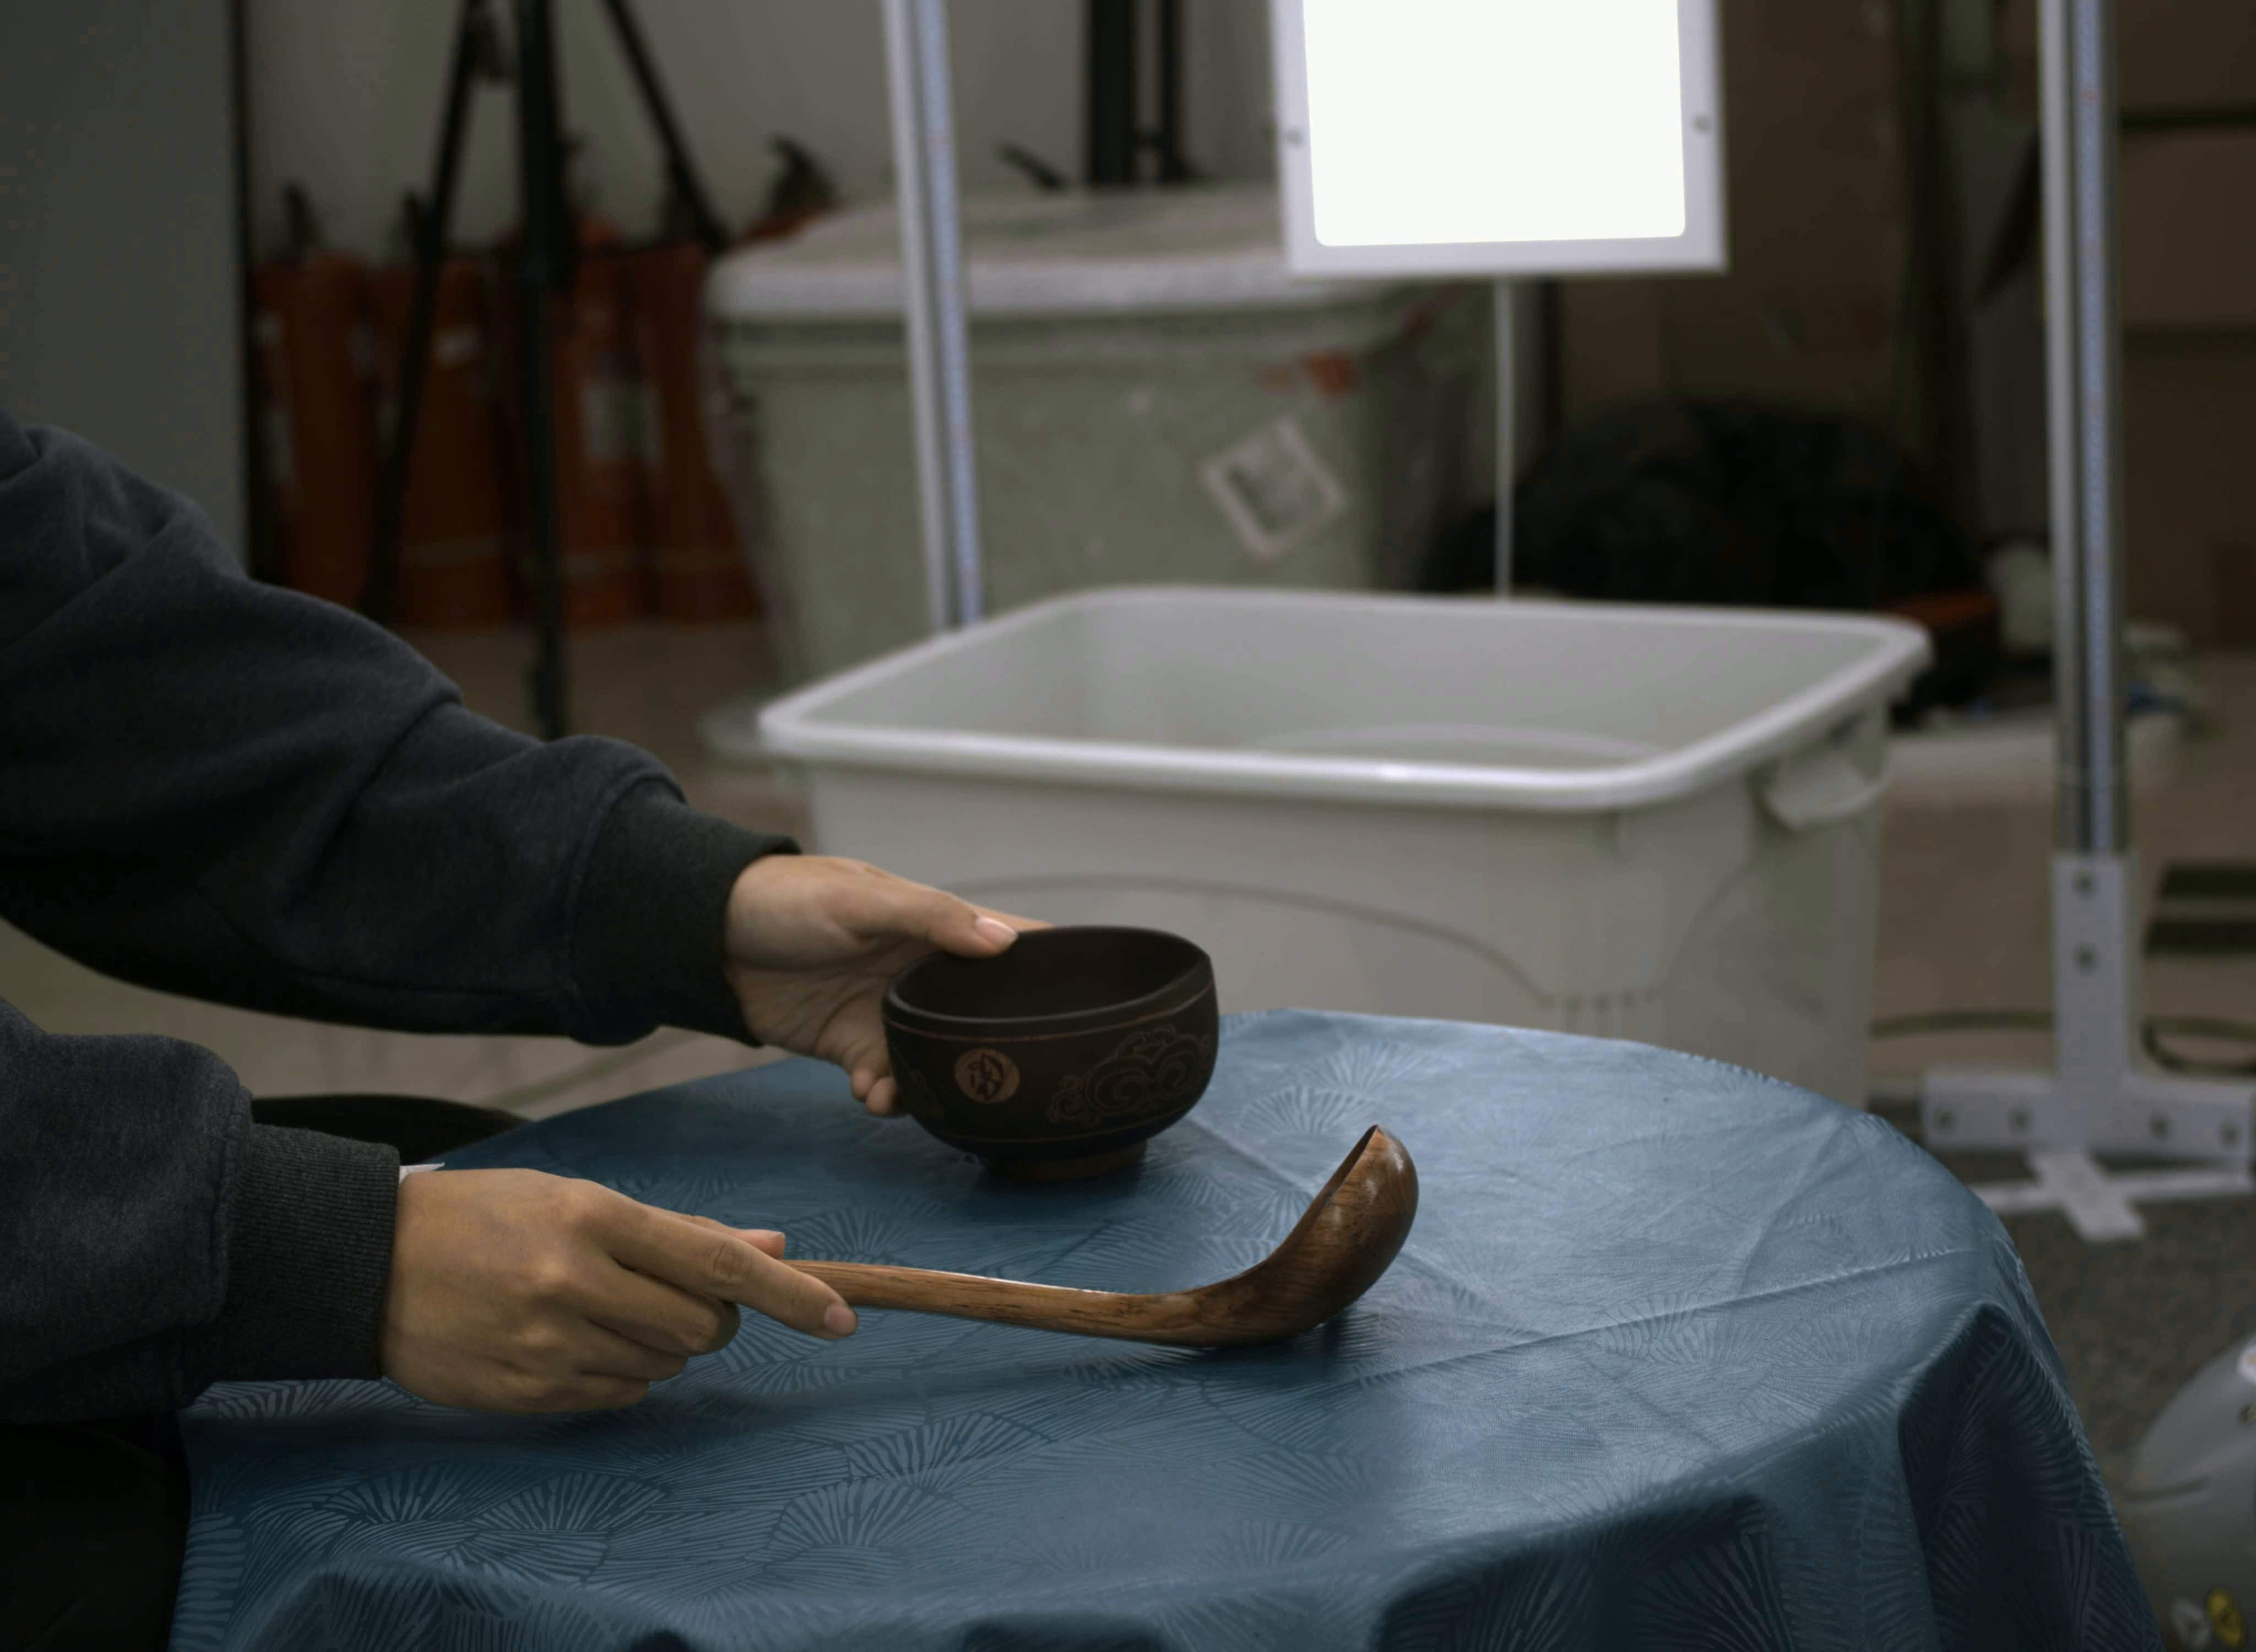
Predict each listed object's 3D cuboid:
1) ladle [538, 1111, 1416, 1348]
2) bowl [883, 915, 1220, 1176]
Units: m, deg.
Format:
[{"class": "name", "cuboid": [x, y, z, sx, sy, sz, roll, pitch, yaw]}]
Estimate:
[{"class": "ladle", "cuboid": [-0.046, 0.120, 1.725, 0.273, 0.076, 0.082, 4, -14, -2]}, {"class": "bowl", "cuboid": [-0.025, 0.081, 1.931, 0.118, 0.070, 0.118, -7, 15, 0]}]
